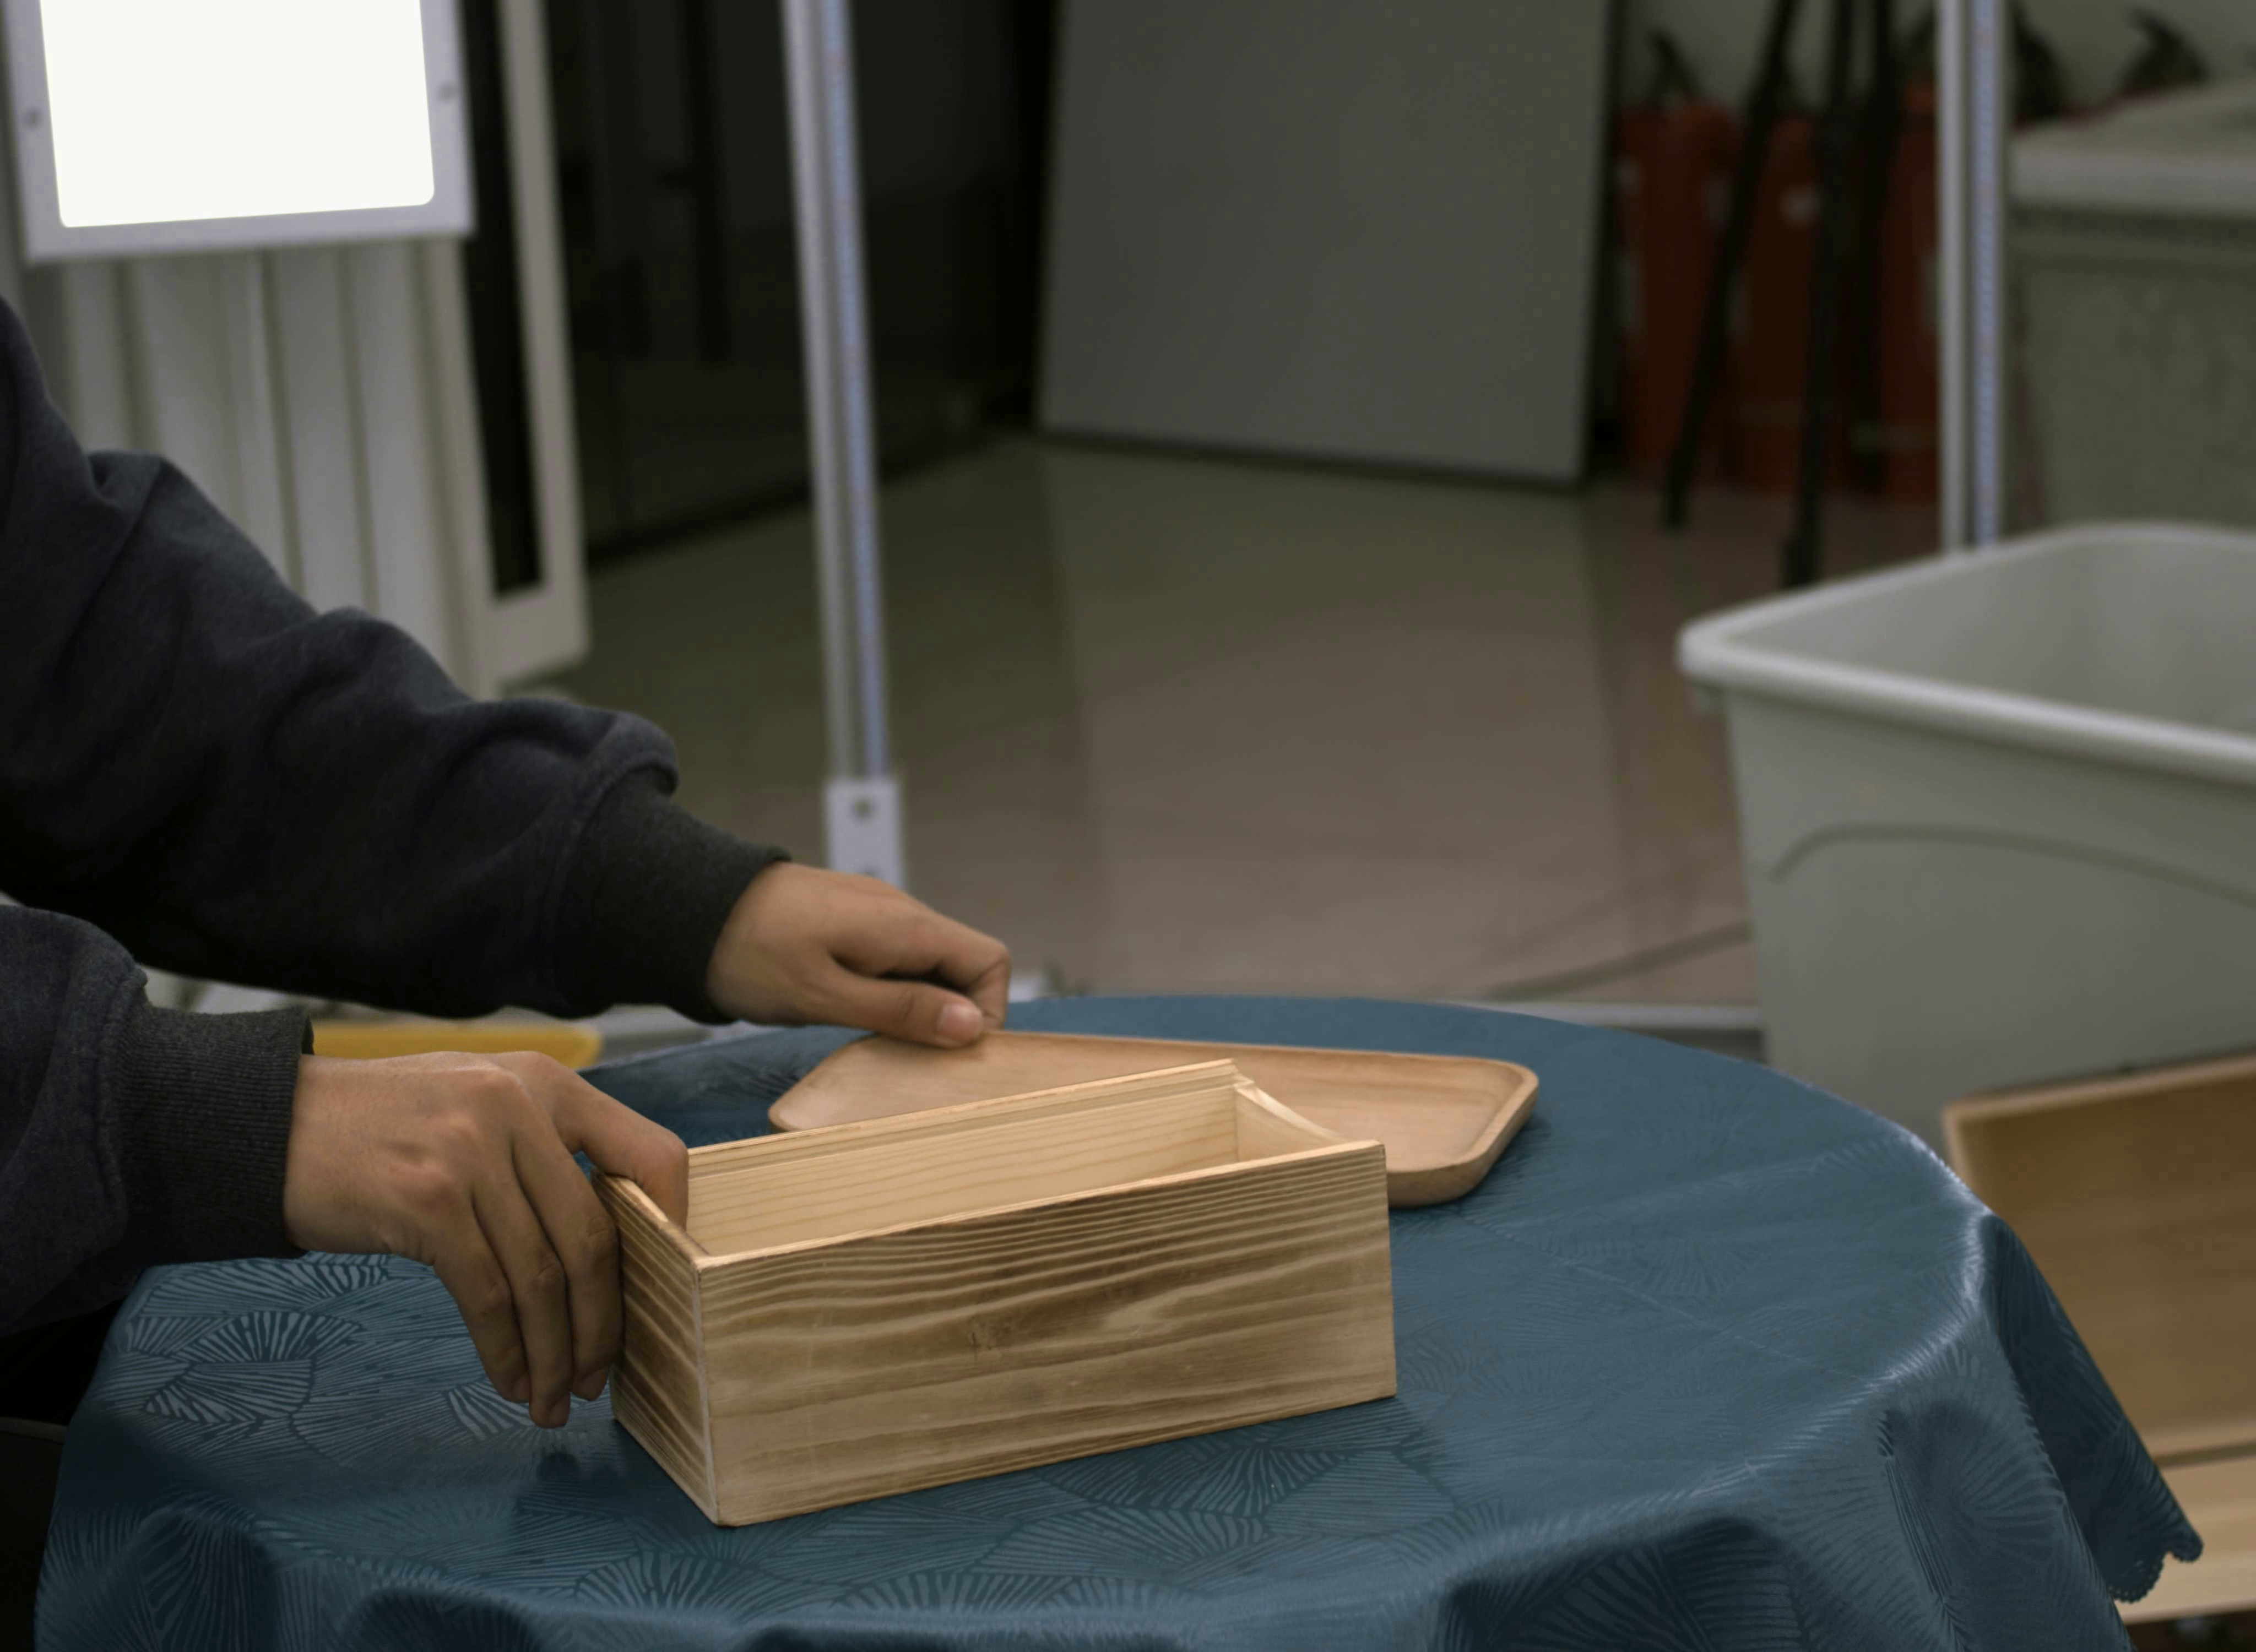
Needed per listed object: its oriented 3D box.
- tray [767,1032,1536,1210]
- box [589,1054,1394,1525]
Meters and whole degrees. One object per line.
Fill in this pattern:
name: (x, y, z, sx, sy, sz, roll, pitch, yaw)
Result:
tray: (0.009, 0.099, 1.813, 0.250, 0.023, 0.129, 2, 12, 19)
box: (-0.039, 0.132, 1.568, 0.207, 0.081, 0.108, -9, 14, -19)
